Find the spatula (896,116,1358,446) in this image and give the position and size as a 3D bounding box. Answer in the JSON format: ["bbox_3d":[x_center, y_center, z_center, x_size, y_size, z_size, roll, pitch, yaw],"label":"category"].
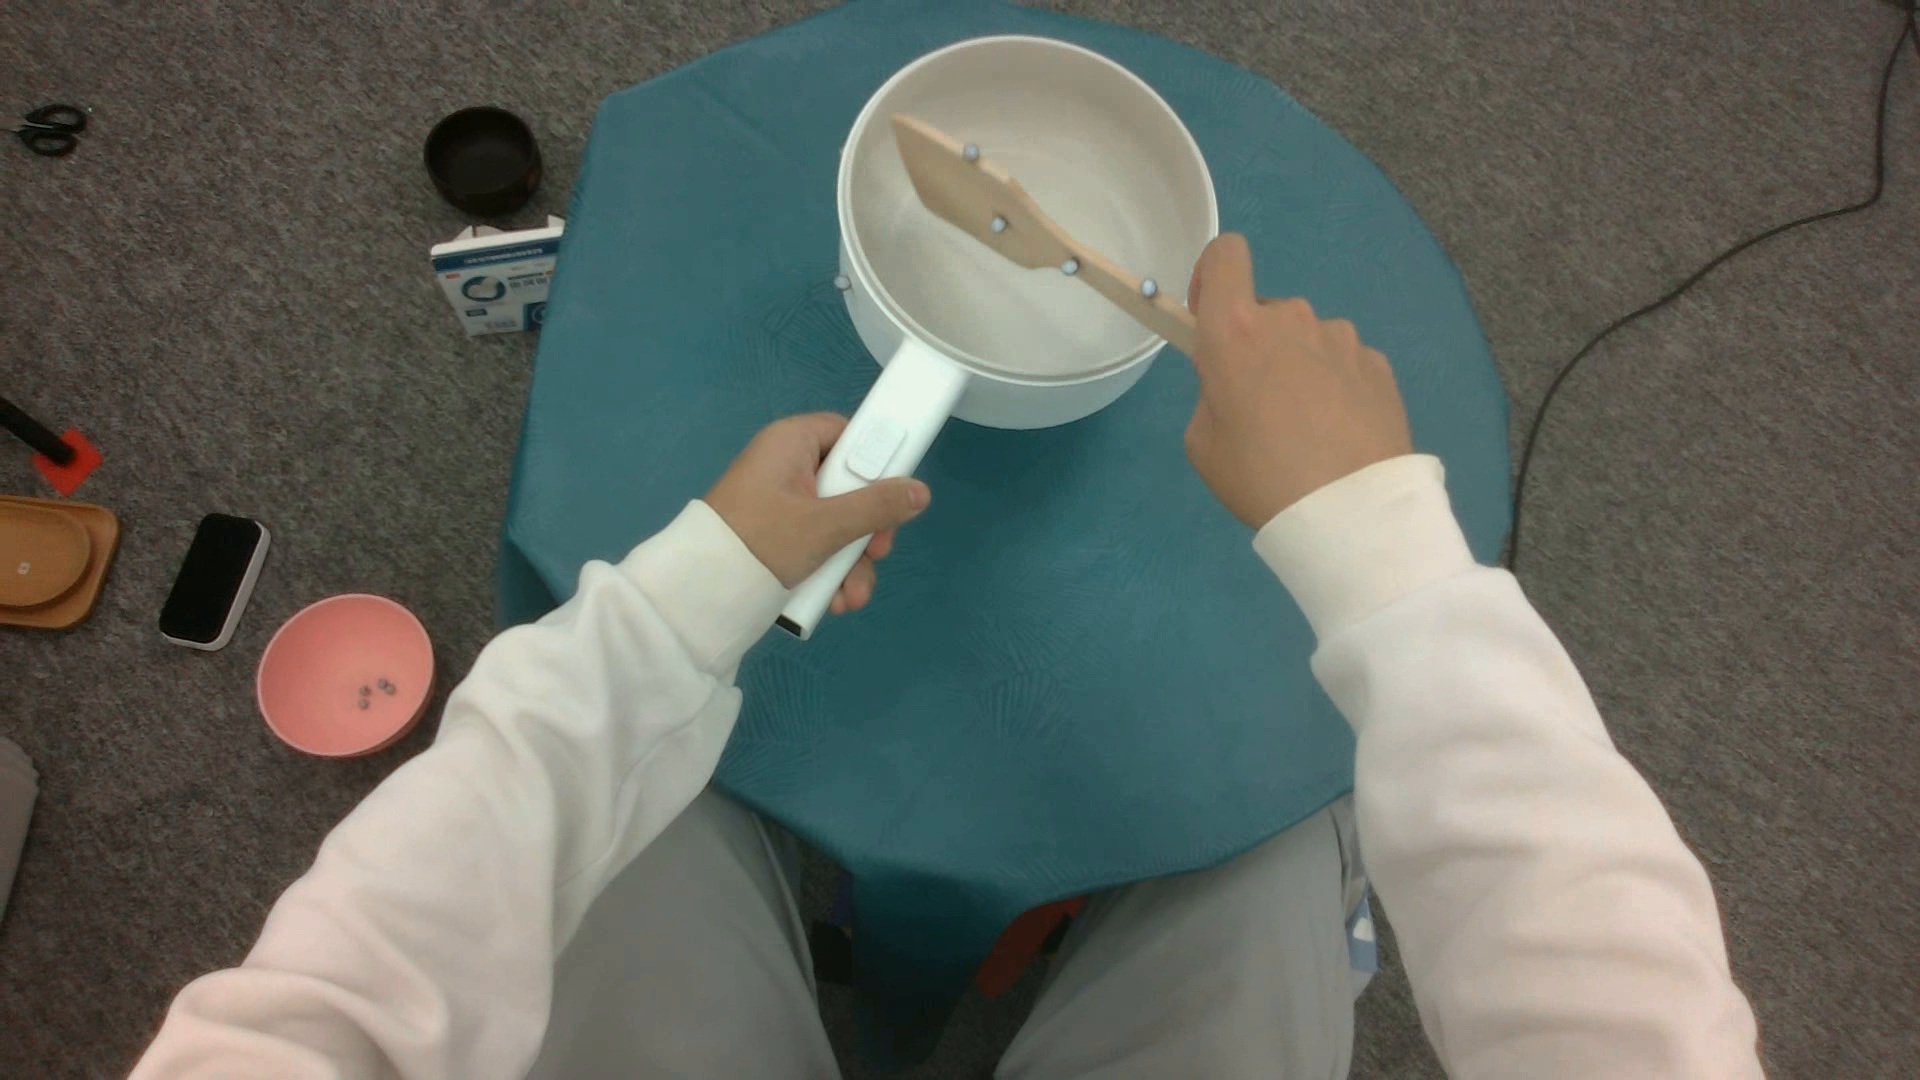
[{"bbox_3d":[0.073,-0.127,0.669,0.011,0.072,0.293,-44,60,-12],"label":"spatula"}]

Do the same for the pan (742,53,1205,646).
[{"bbox_3d":[-0.008,-0.096,0.748,0.201,0.102,0.356,28,72,2],"label":"pan"}]
